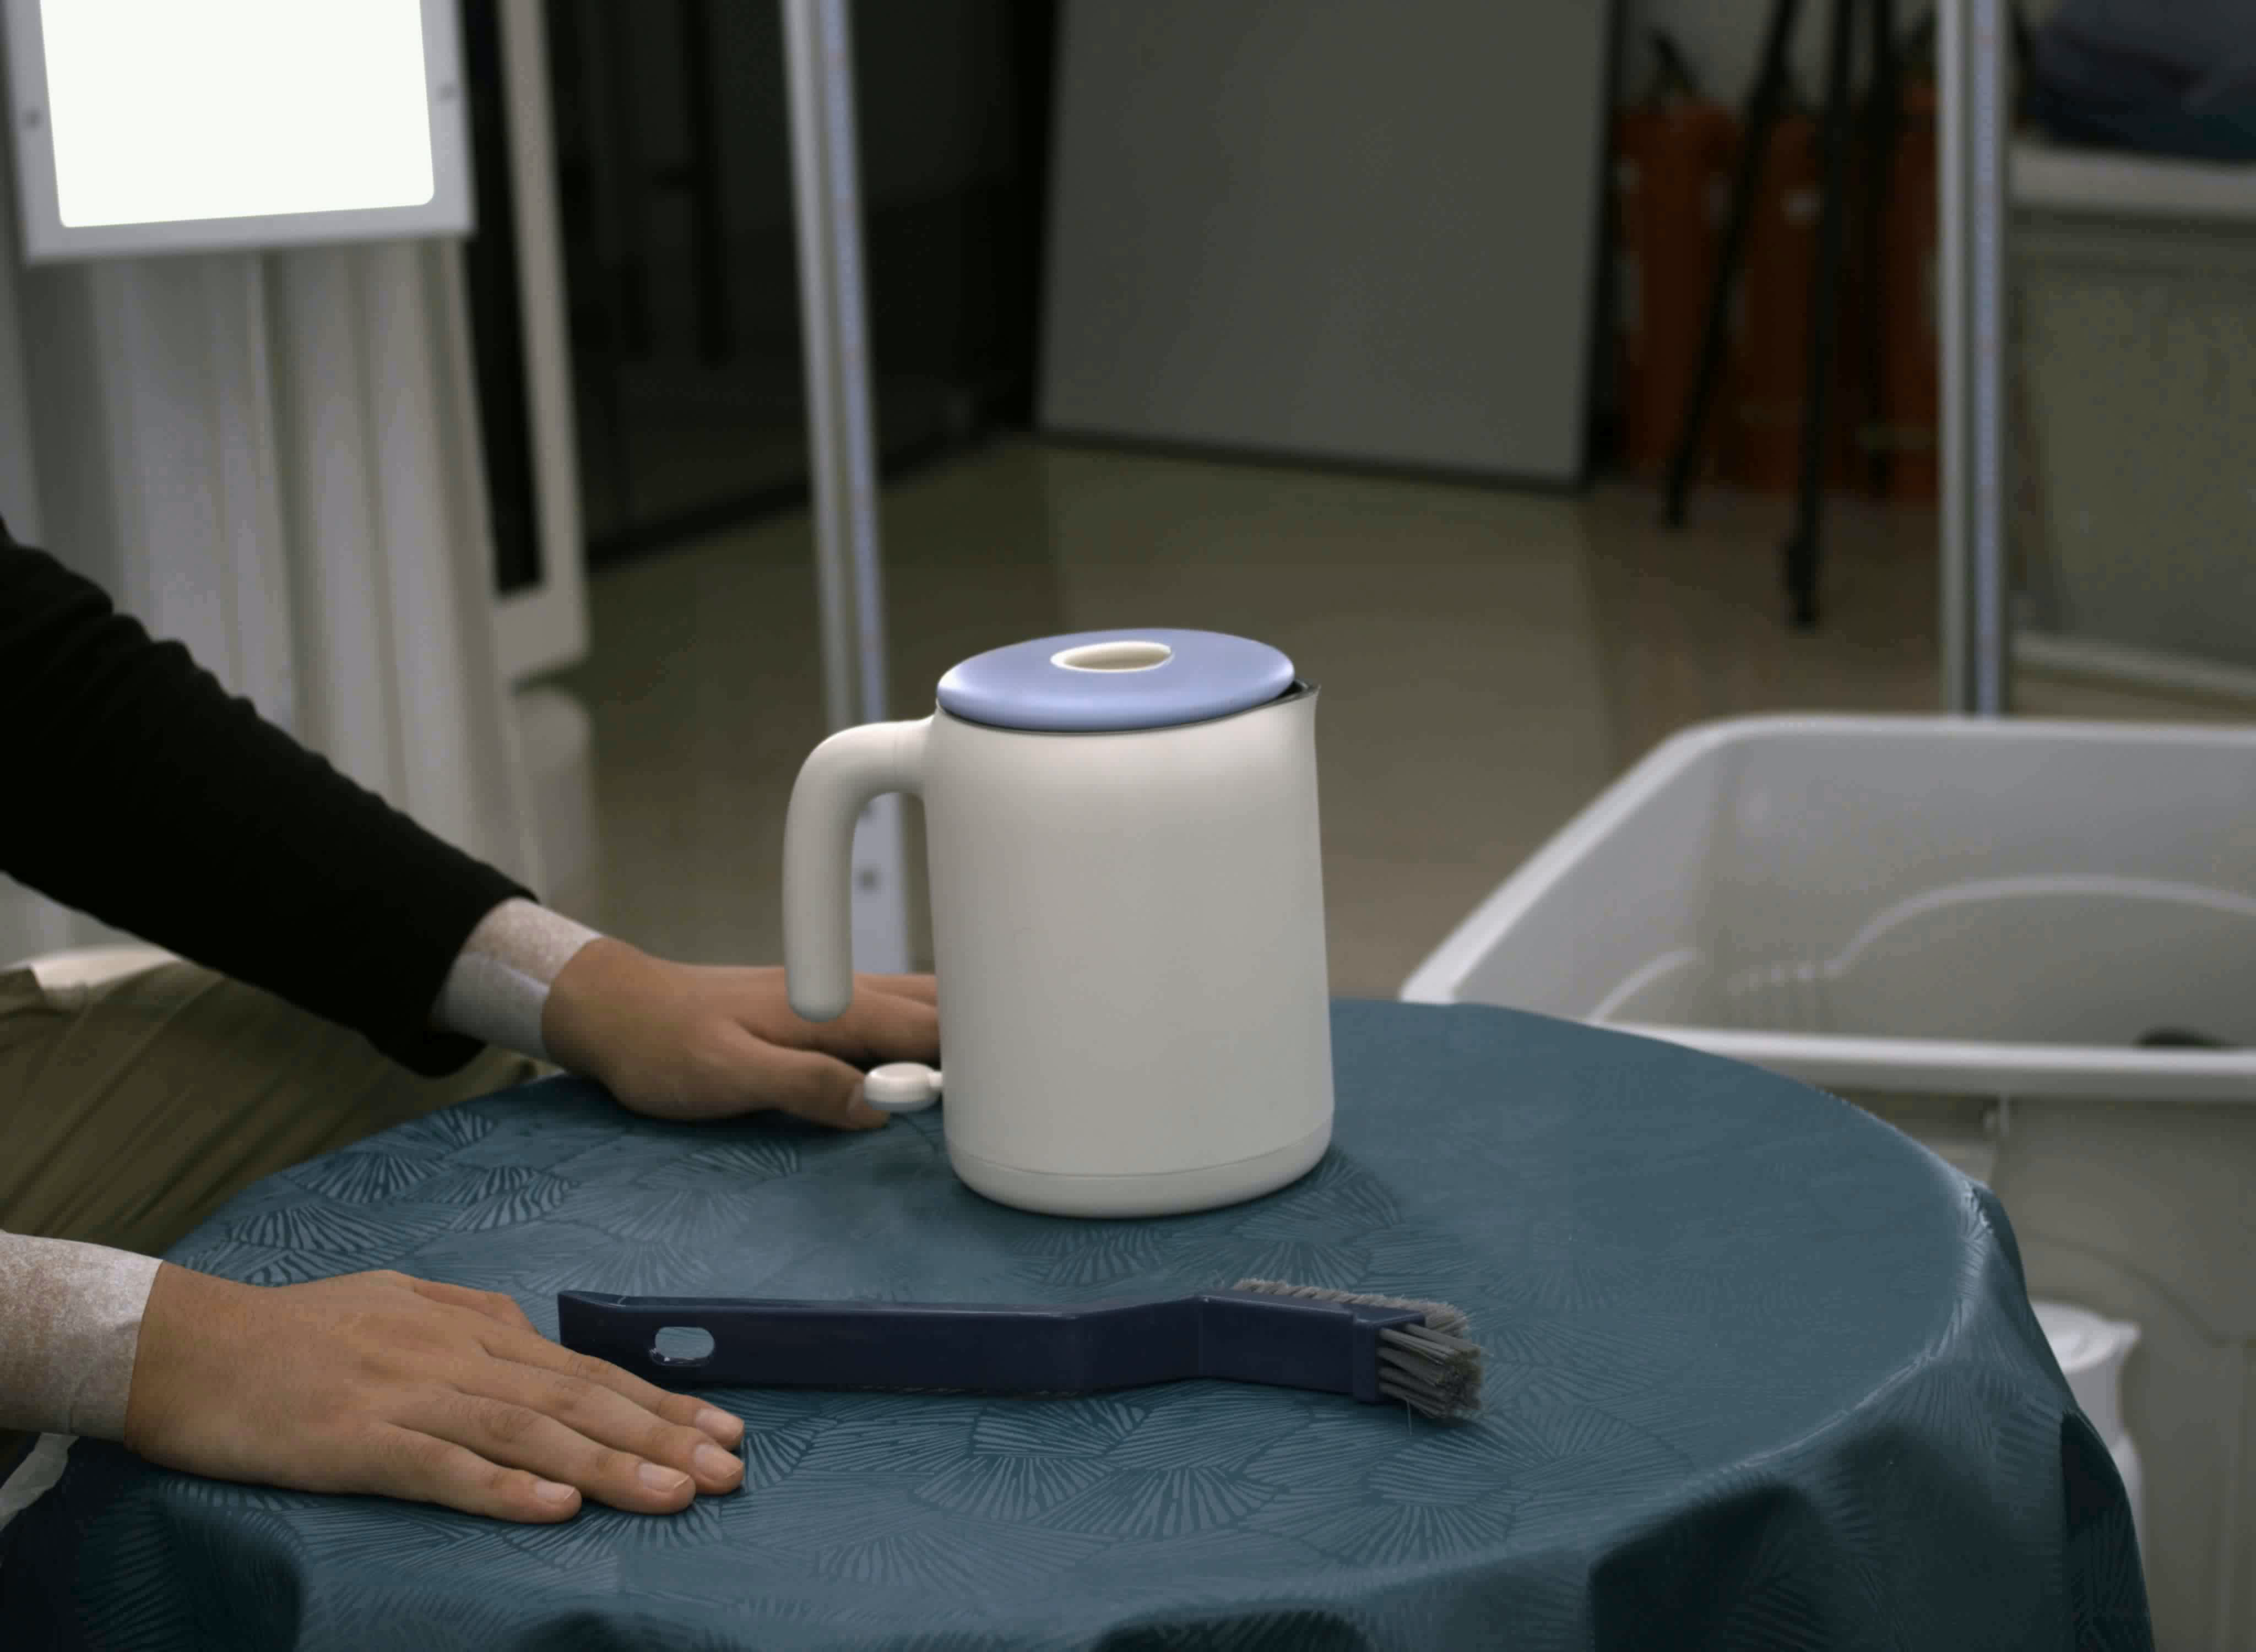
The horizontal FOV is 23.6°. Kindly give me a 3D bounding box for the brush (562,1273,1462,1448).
[{"bbox_3d":[-0.037,0.154,1.582,0.270,0.034,0.095,-2,17,6],"label":"brush"}]

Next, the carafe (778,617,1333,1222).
[{"bbox_3d":[-0.024,0.031,1.783,0.190,0.184,0.131,-2,13,12],"label":"carafe"}]
